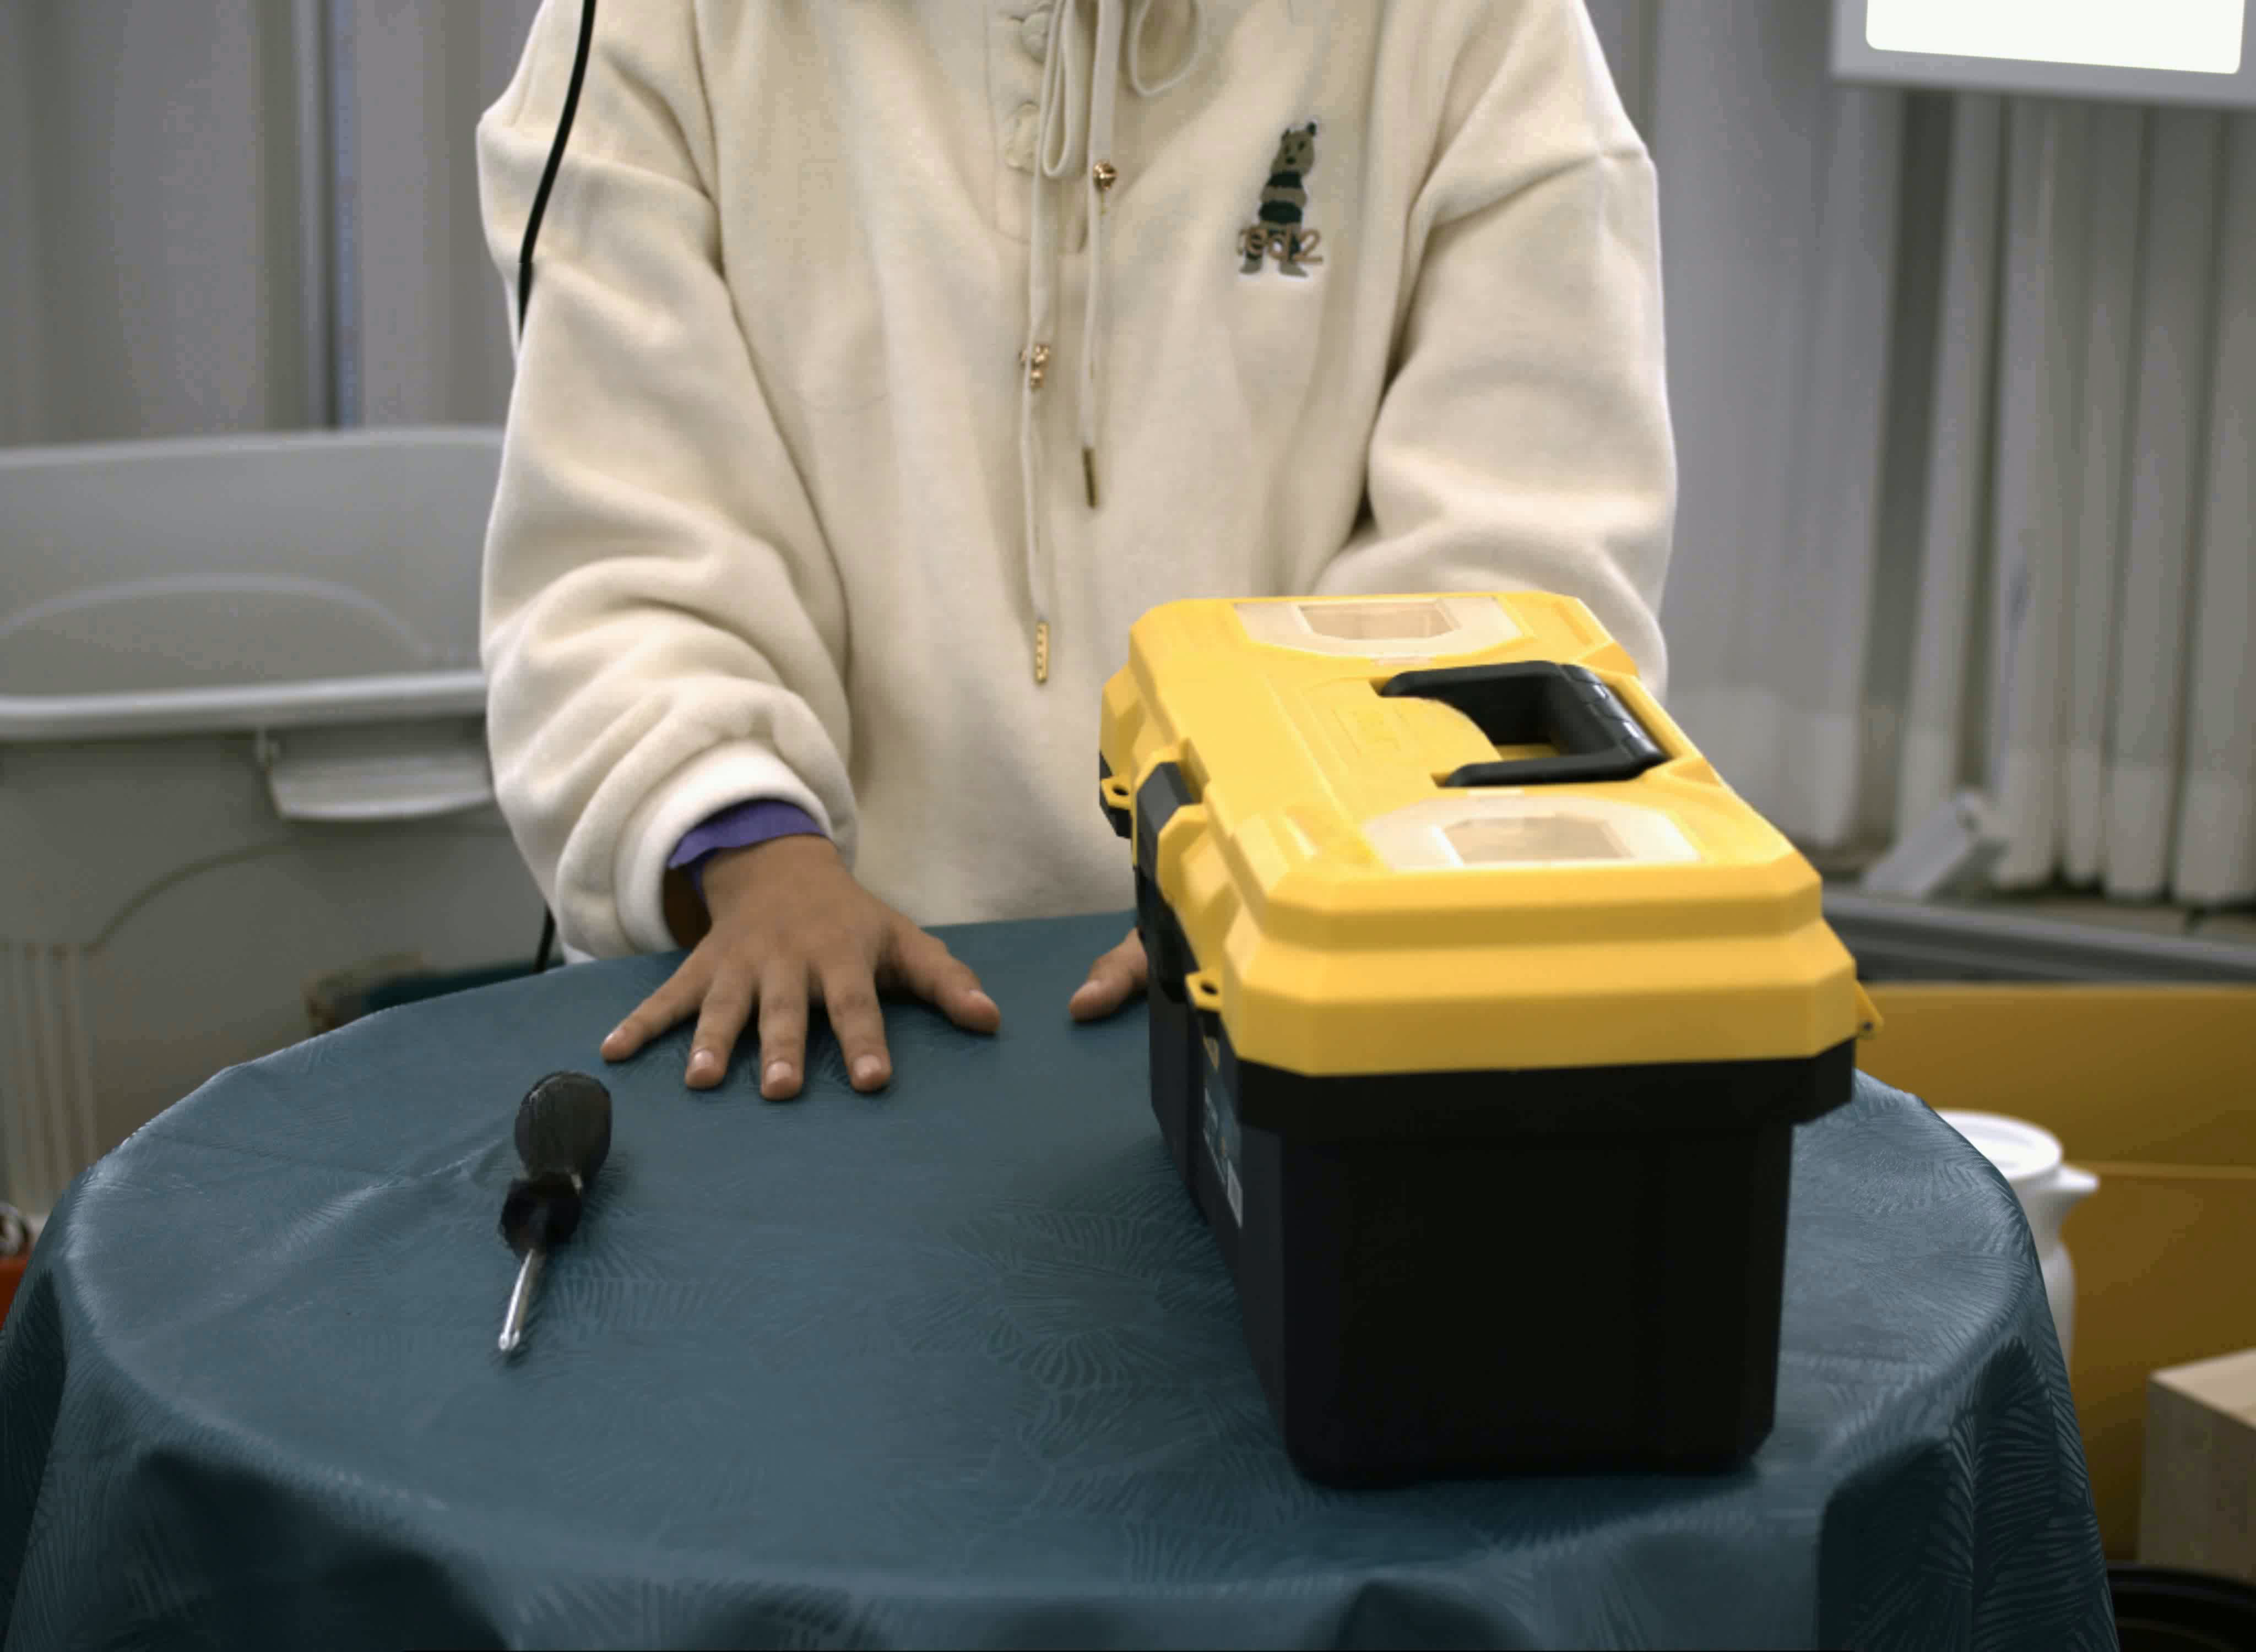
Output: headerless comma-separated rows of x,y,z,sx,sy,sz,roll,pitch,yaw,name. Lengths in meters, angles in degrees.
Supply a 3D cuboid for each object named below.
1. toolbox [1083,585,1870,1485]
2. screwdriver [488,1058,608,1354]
0.091,0.050,1.521,0.181,0.174,0.349,-1,16,-6,toolbox
-0.177,0.111,1.561,0.031,0.032,0.195,1,17,1,screwdriver
